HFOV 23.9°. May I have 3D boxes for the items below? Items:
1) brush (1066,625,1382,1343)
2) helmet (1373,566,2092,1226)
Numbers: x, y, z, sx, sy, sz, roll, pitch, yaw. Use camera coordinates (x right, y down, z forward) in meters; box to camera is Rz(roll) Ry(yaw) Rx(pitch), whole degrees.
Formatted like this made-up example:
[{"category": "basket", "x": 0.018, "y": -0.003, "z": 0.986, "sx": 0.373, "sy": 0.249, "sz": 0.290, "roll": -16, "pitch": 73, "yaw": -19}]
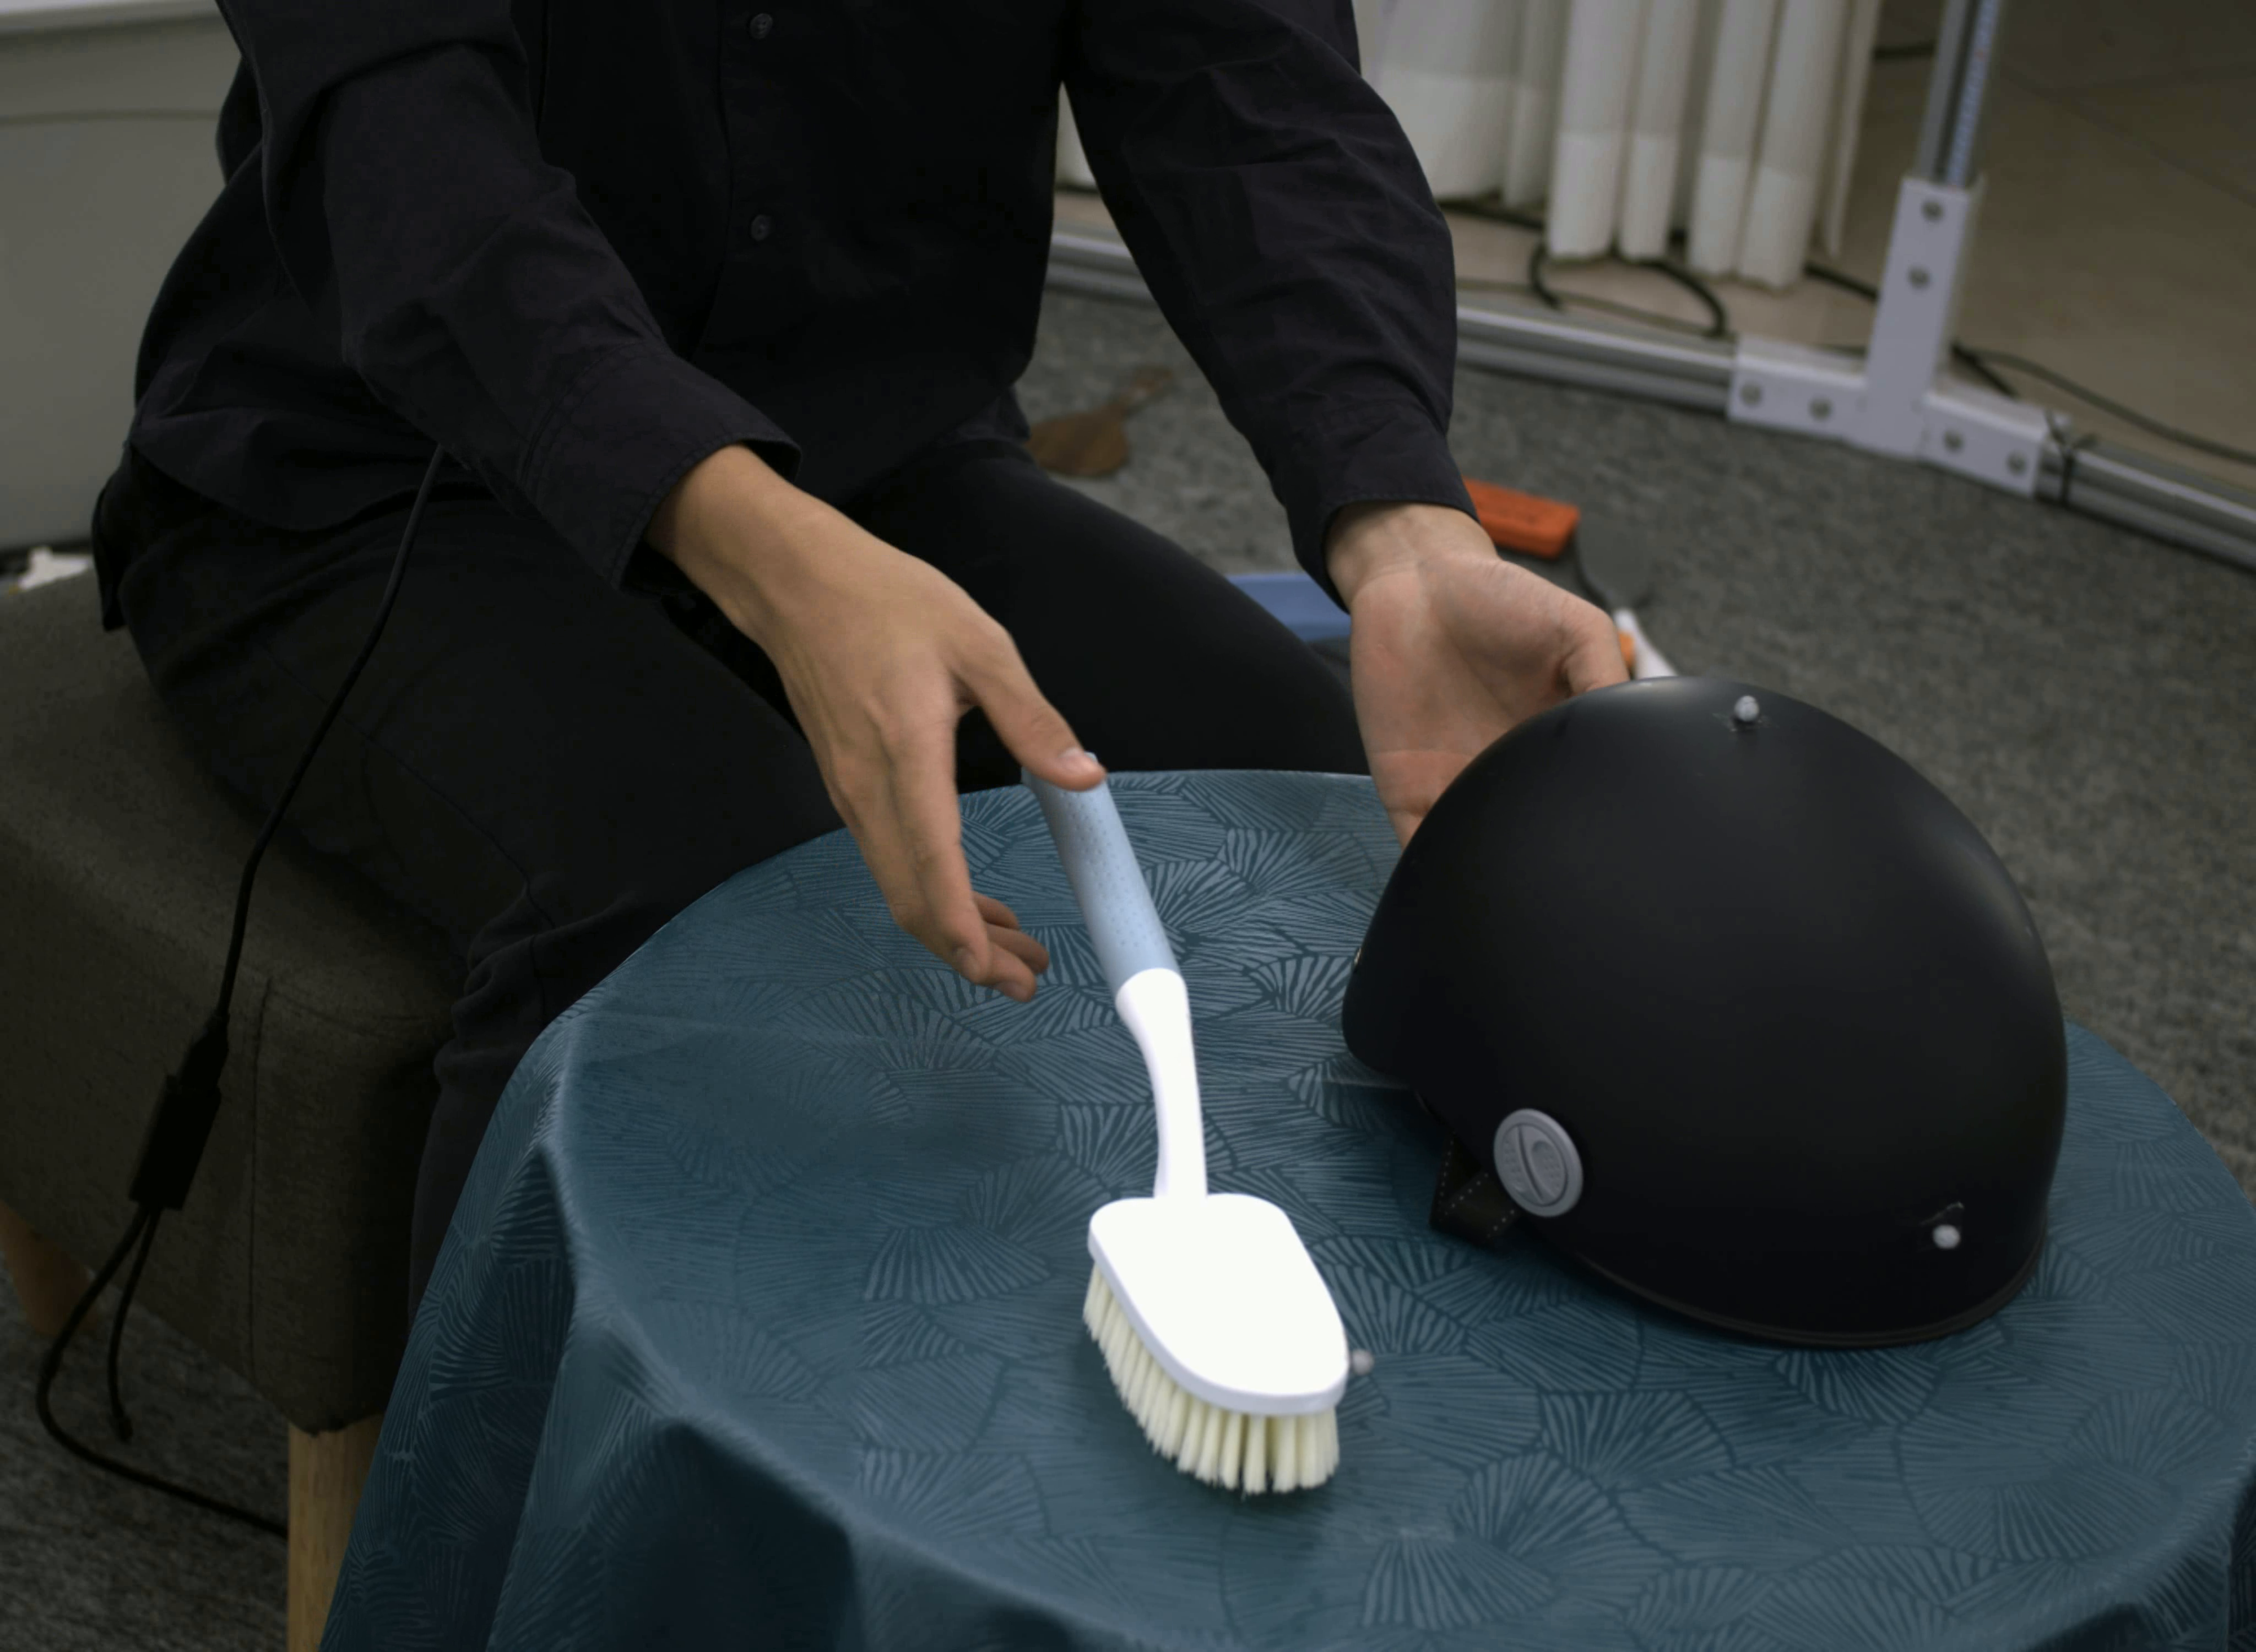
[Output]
[{"category": "brush", "x": 0.025, "y": 0.060, "z": 1.785, "sx": 0.082, "sy": 0.084, "sz": 0.328, "roll": 33, "pitch": 24, "yaw": -37}, {"category": "helmet", "x": 0.220, "y": 0.006, "z": 1.853, "sx": 0.228, "sy": 0.166, "sz": 0.275, "roll": -12, "pitch": 35, "yaw": -30}]
